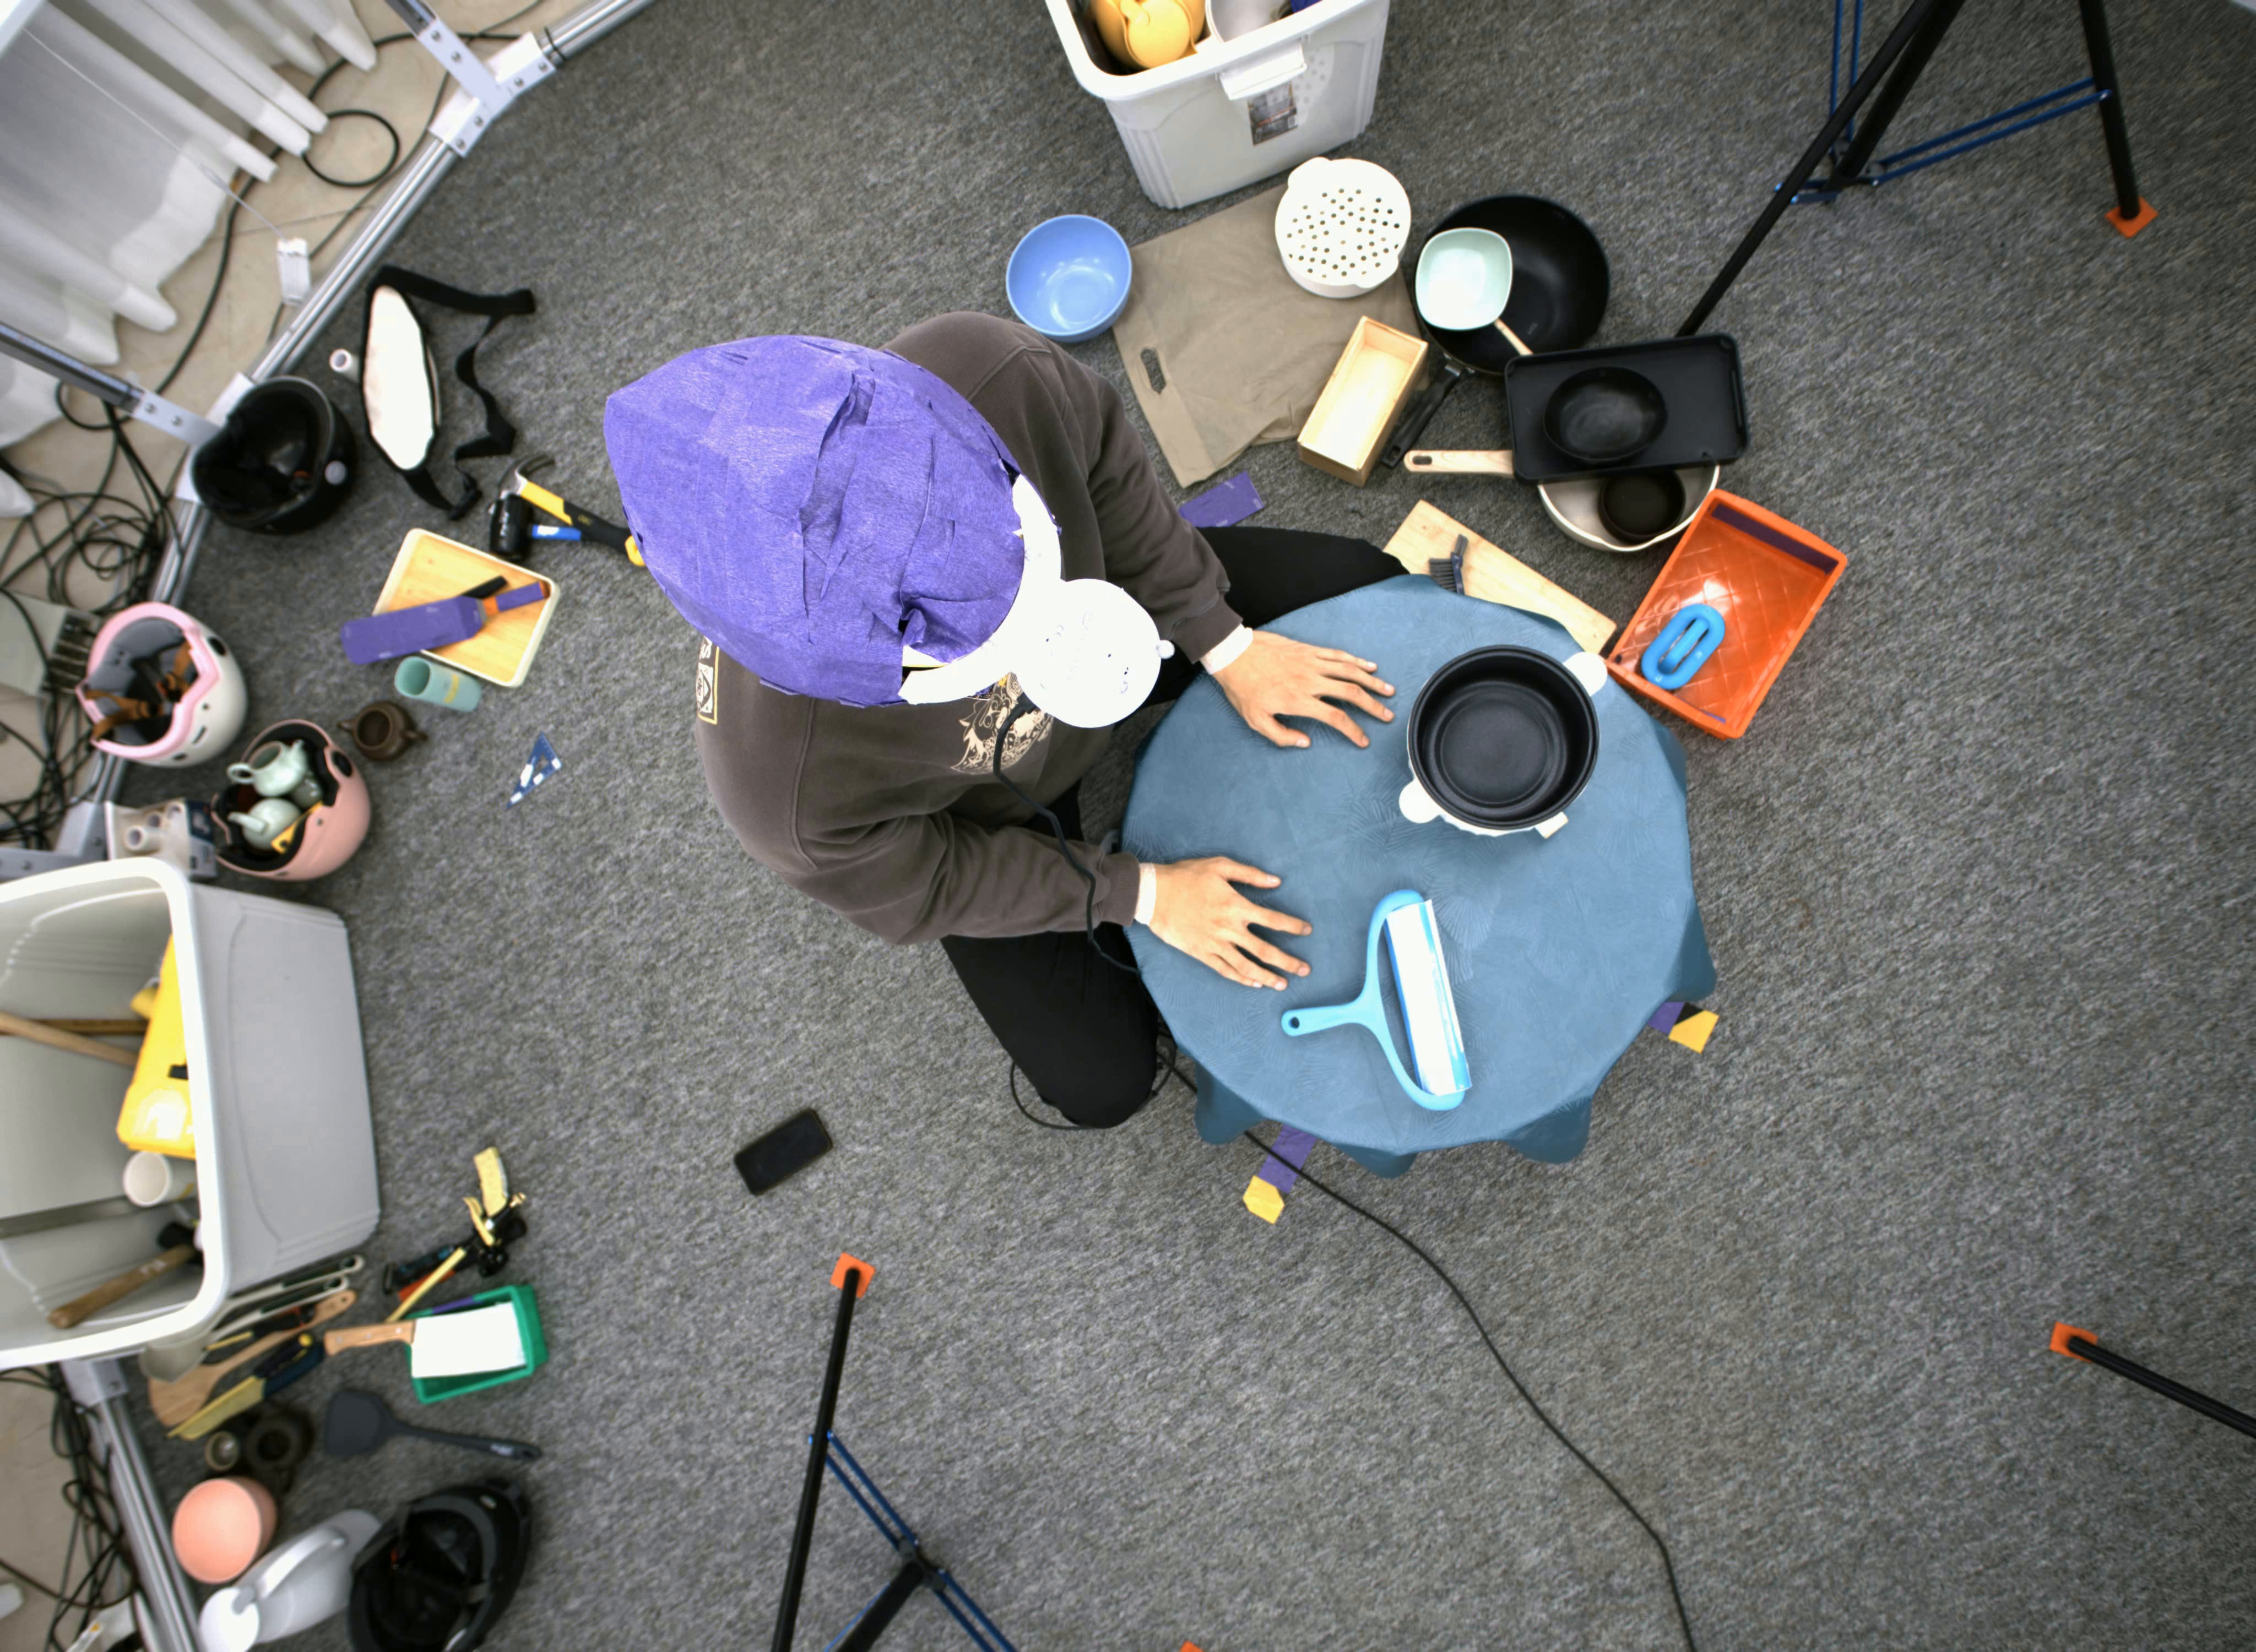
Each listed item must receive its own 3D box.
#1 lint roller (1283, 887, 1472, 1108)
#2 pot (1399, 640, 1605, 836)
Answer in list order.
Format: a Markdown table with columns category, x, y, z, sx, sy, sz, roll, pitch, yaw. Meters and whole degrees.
| category | x | y | z | sx | sy | sz | roll | pitch | yaw |
| --- | --- | --- | --- | --- | --- | --- | --- | --- | --- |
| lint roller | 0.249 | 0.188 | 1.427 | 0.181 | 0.068 | 0.228 | -14 | 86 | 8 |
| pot | 0.374 | -0.080 | 1.375 | 0.242 | 0.143 | 0.189 | -40 | 77 | 7 |
